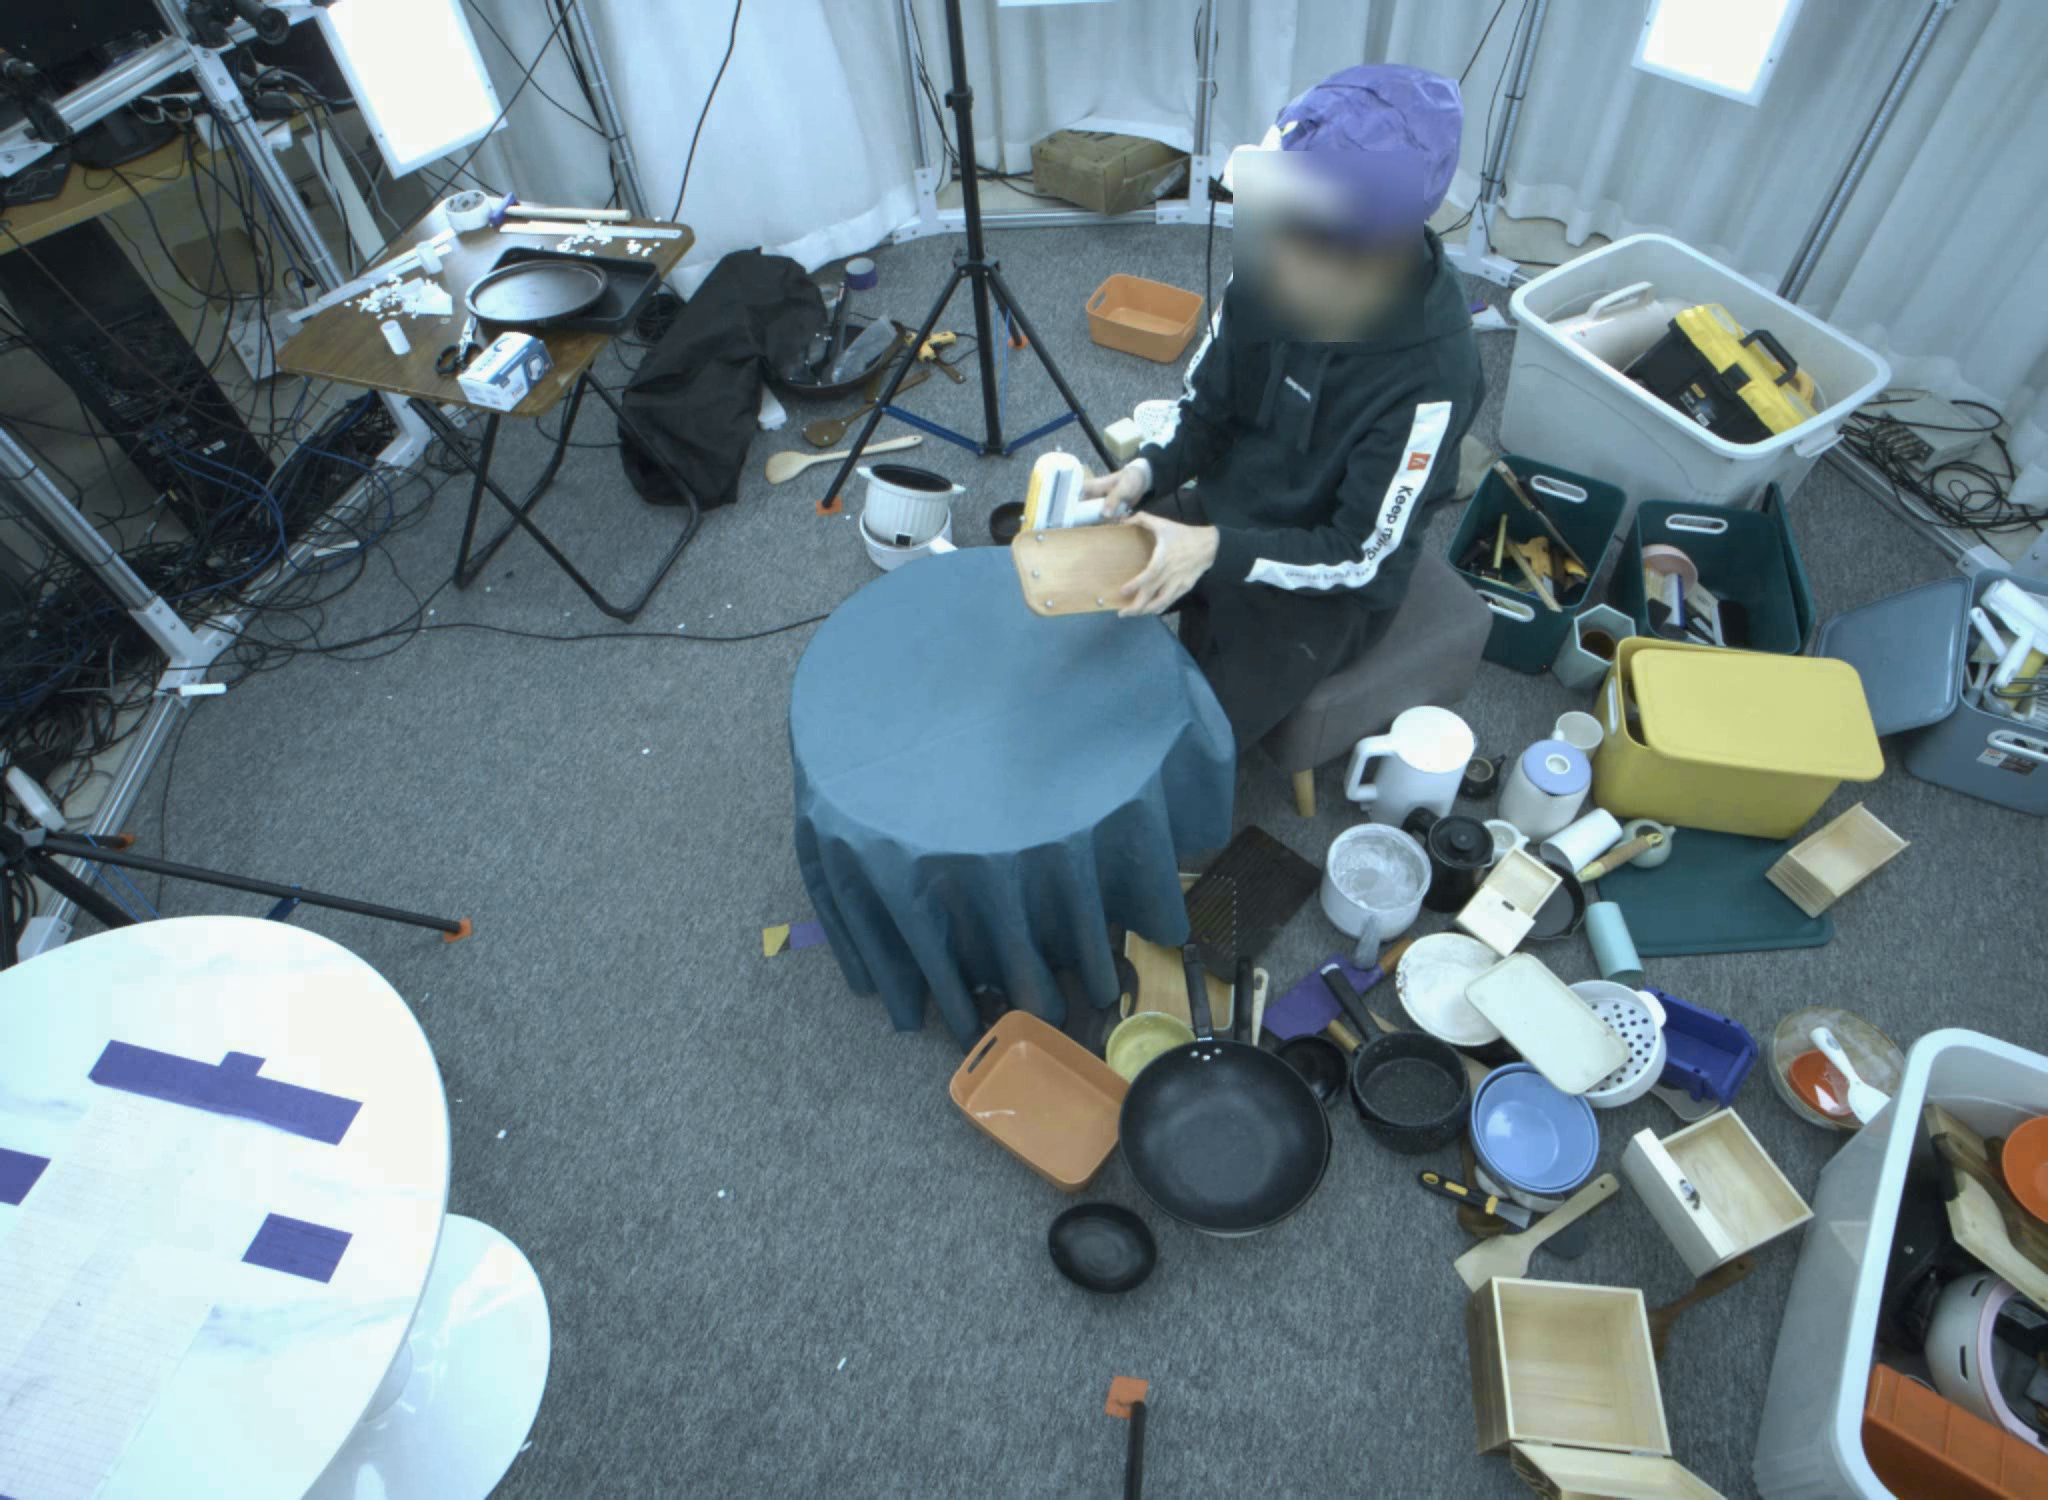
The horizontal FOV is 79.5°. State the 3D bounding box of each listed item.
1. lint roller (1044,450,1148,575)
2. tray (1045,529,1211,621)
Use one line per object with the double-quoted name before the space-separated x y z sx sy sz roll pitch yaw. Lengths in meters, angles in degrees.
"lint roller" 0.120 -0.342 1.773 0.196 0.193 0.072 -9 35 -41
"tray" 0.147 -0.246 1.717 0.255 0.022 0.130 -7 82 -30
